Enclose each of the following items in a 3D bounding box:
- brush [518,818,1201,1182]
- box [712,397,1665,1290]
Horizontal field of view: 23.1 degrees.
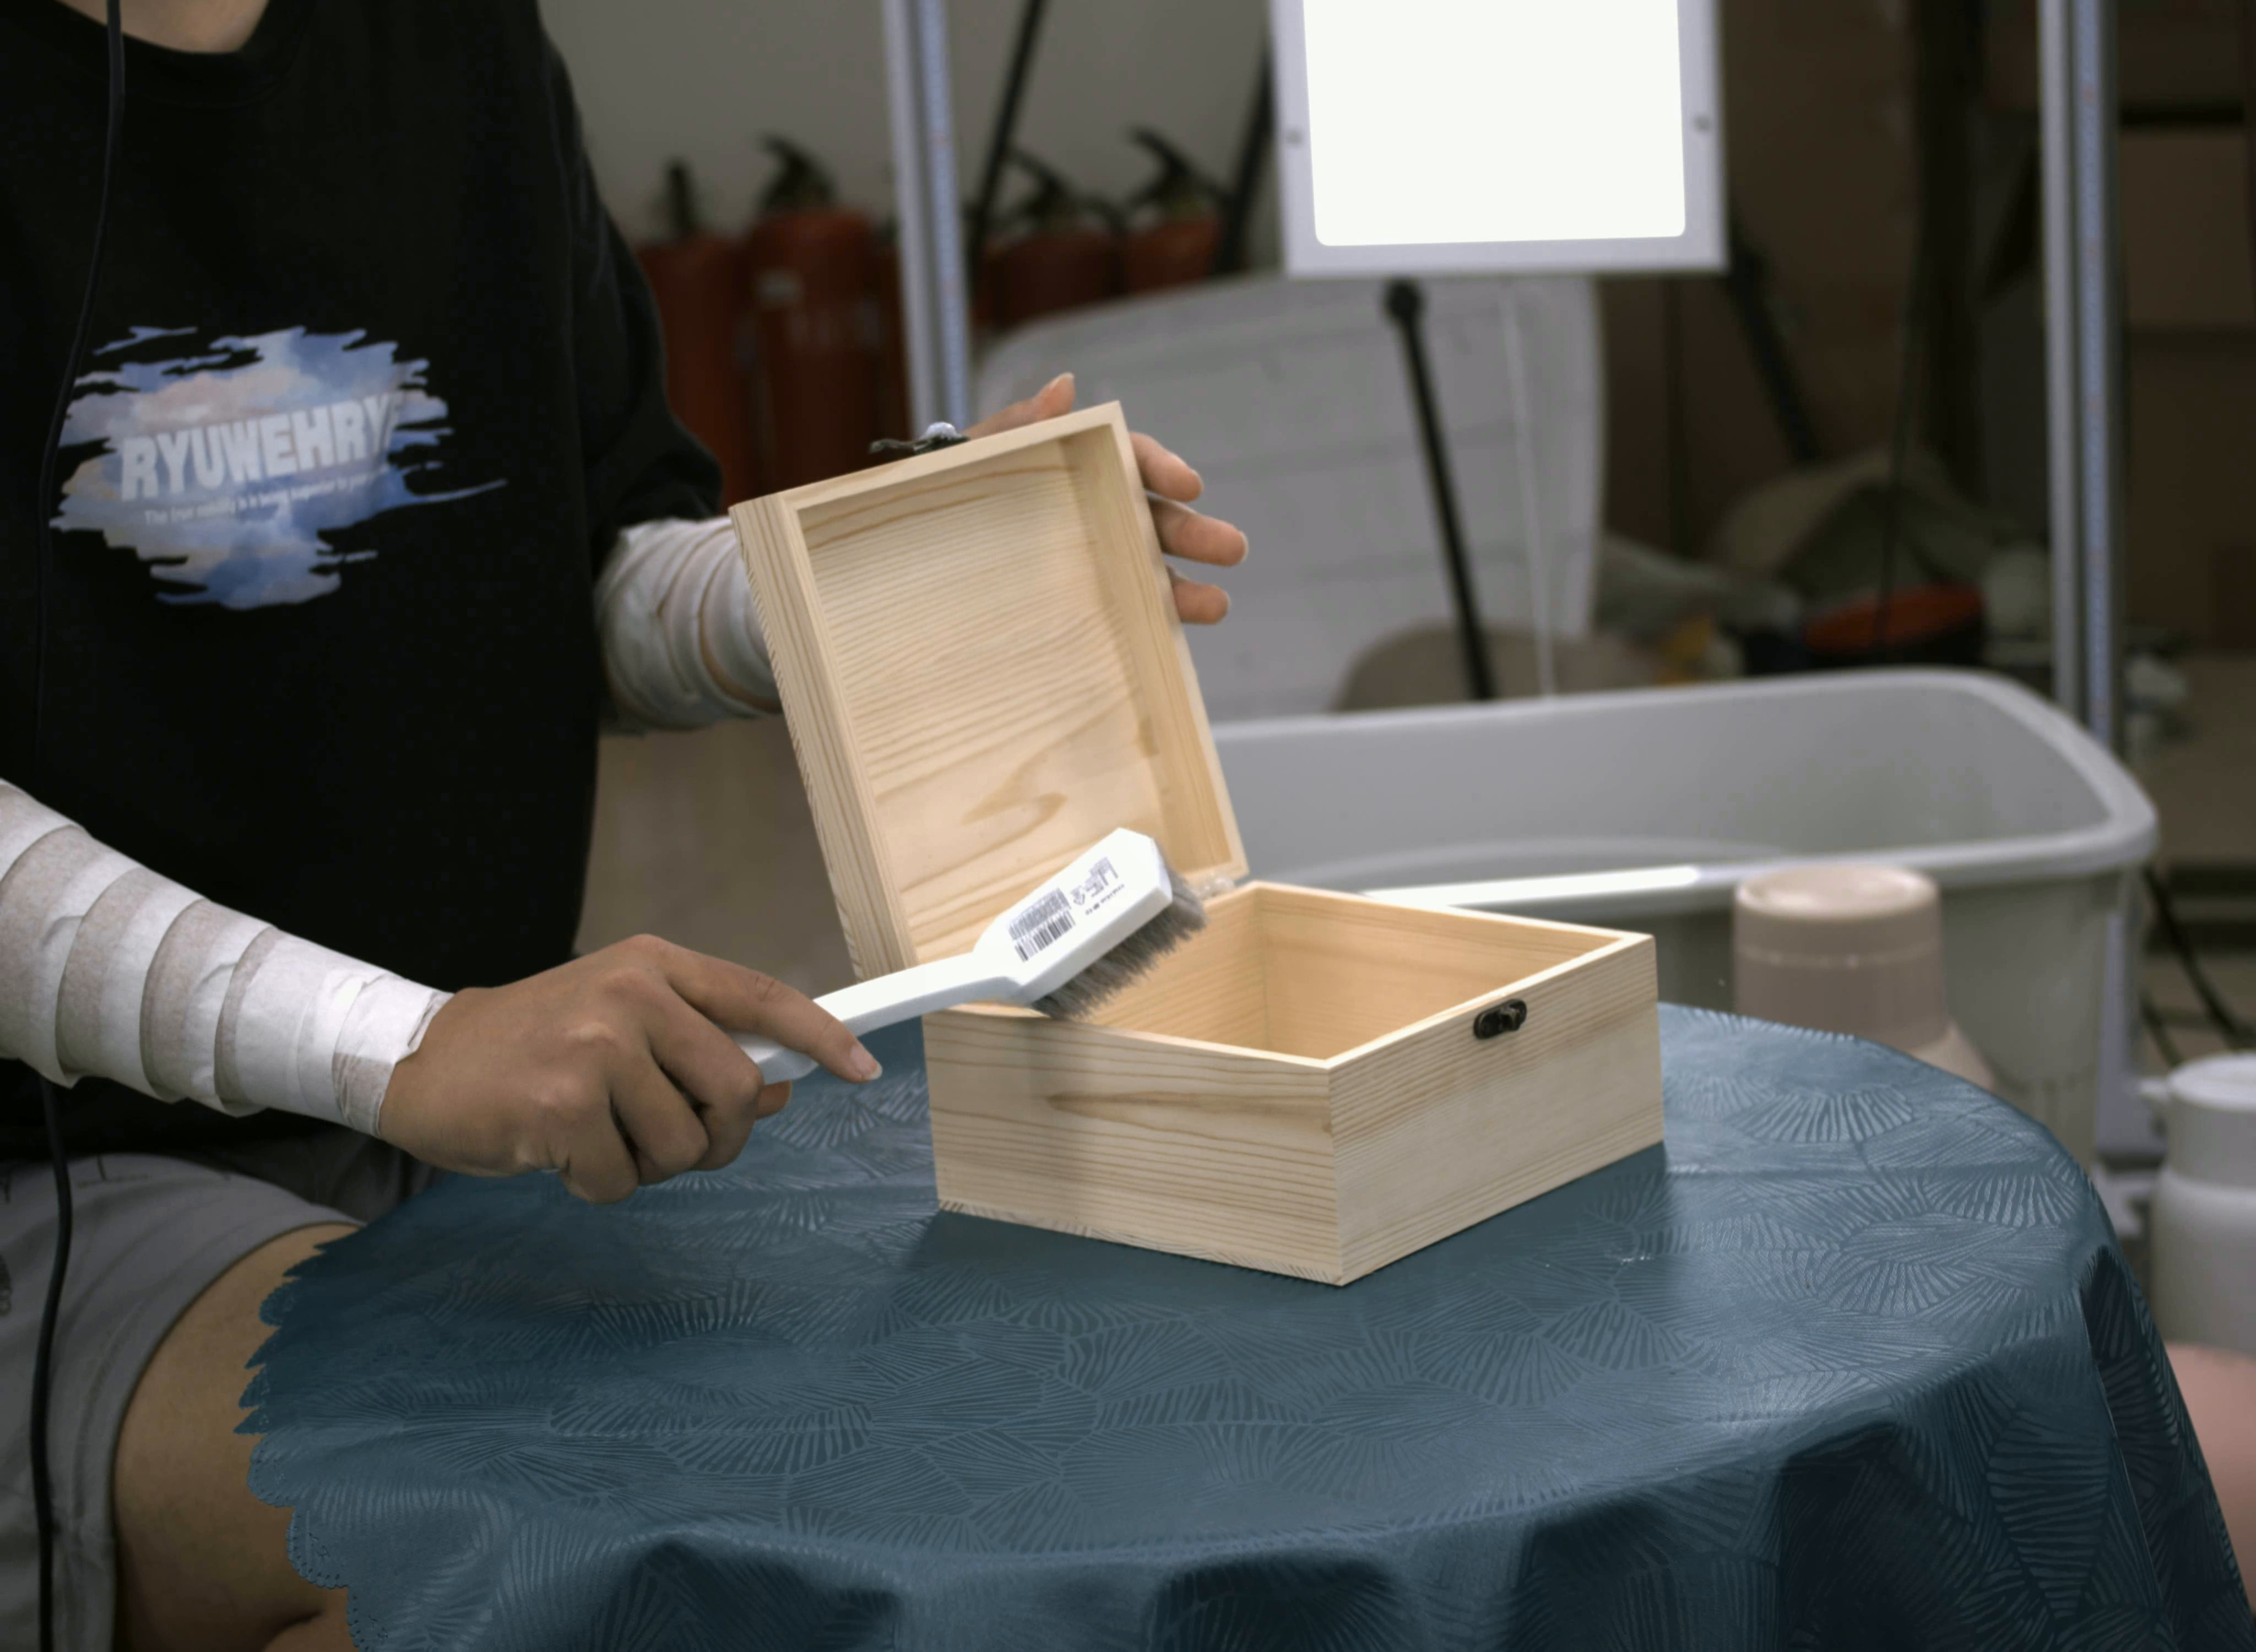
[{"bbox_3d":[-0.087,0.069,1.828,0.241,0.050,0.035,-27,47,-8],"label":"brush"},{"bbox_3d":[0.025,-0.003,1.894,0.271,0.254,0.177,7,20,41],"label":"box"}]
